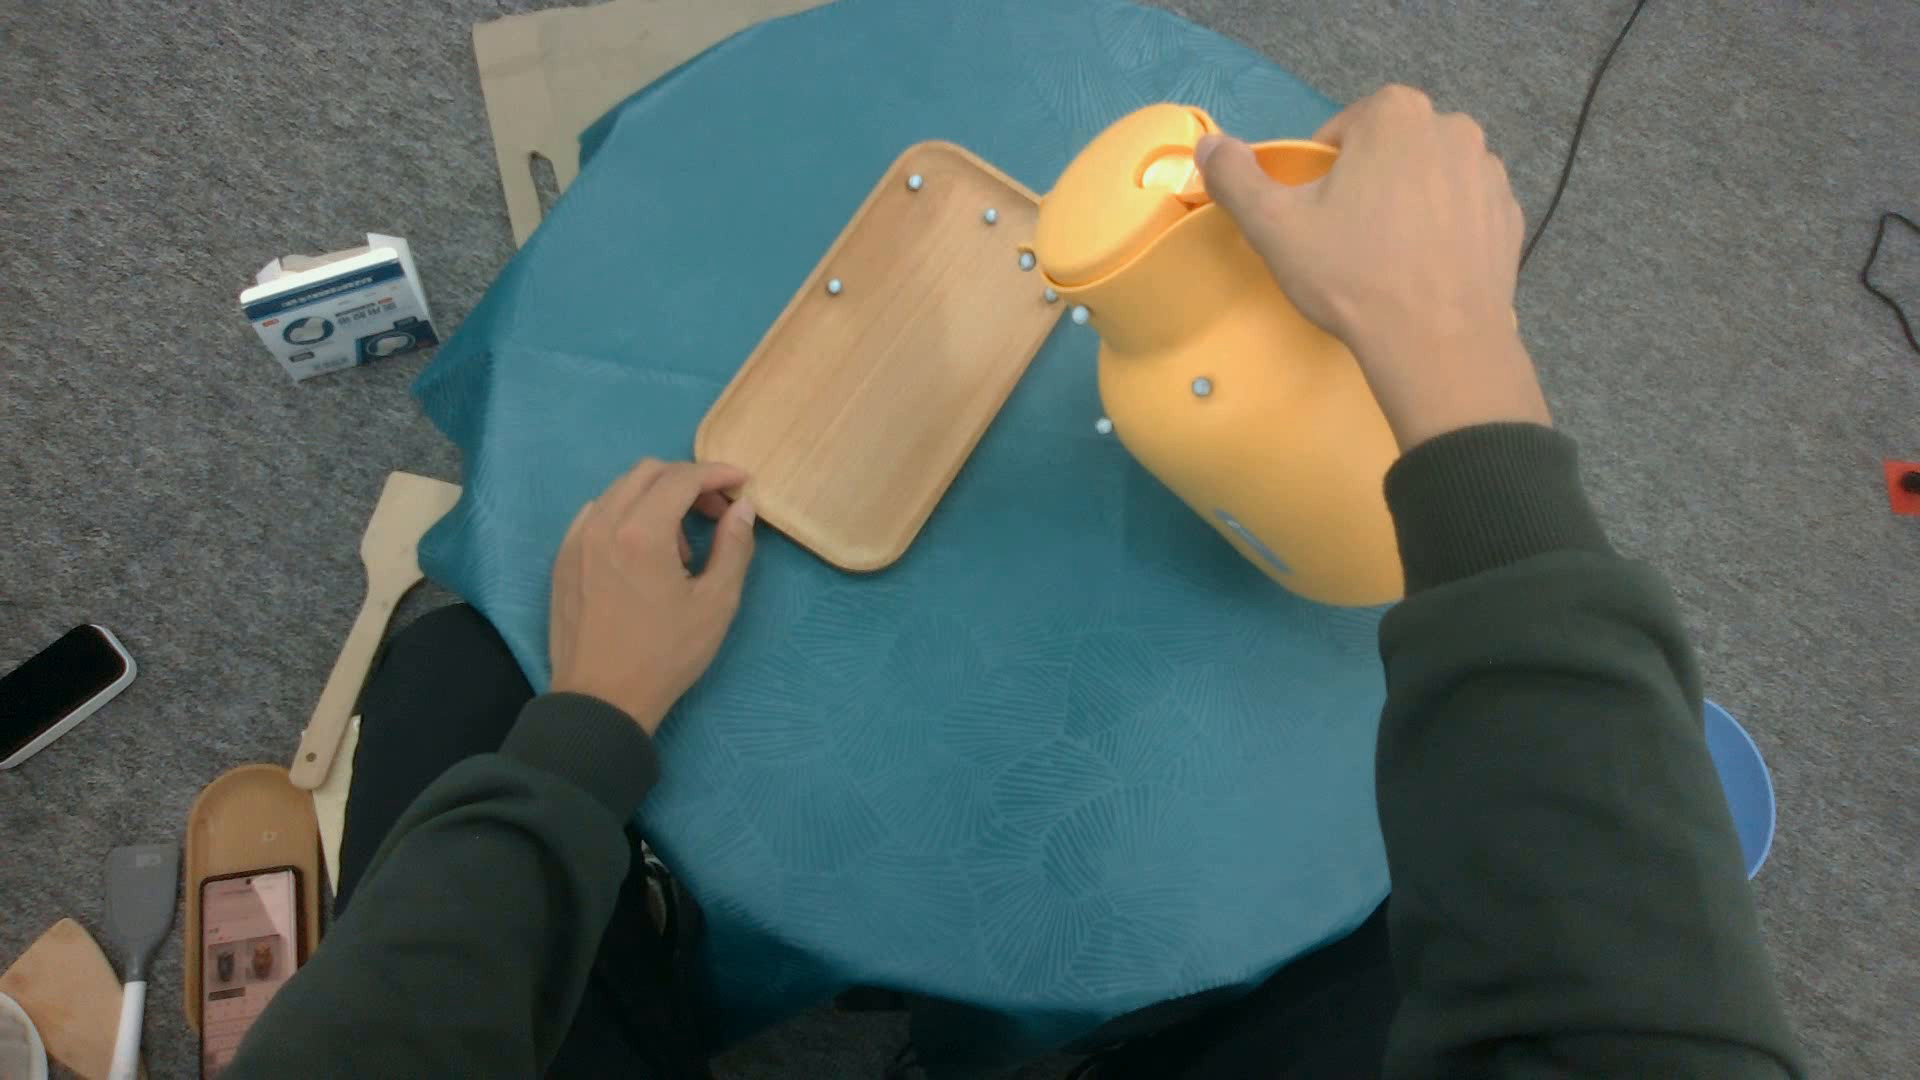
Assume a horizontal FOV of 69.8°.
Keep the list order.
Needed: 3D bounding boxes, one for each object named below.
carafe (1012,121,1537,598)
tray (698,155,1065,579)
[{"bbox_3d":[0.159,-0.088,0.649,0.260,0.202,0.164,32,76,-30],"label":"carafe"},{"bbox_3d":[-0.032,-0.101,0.770,0.130,0.023,0.251,32,72,5],"label":"tray"}]
